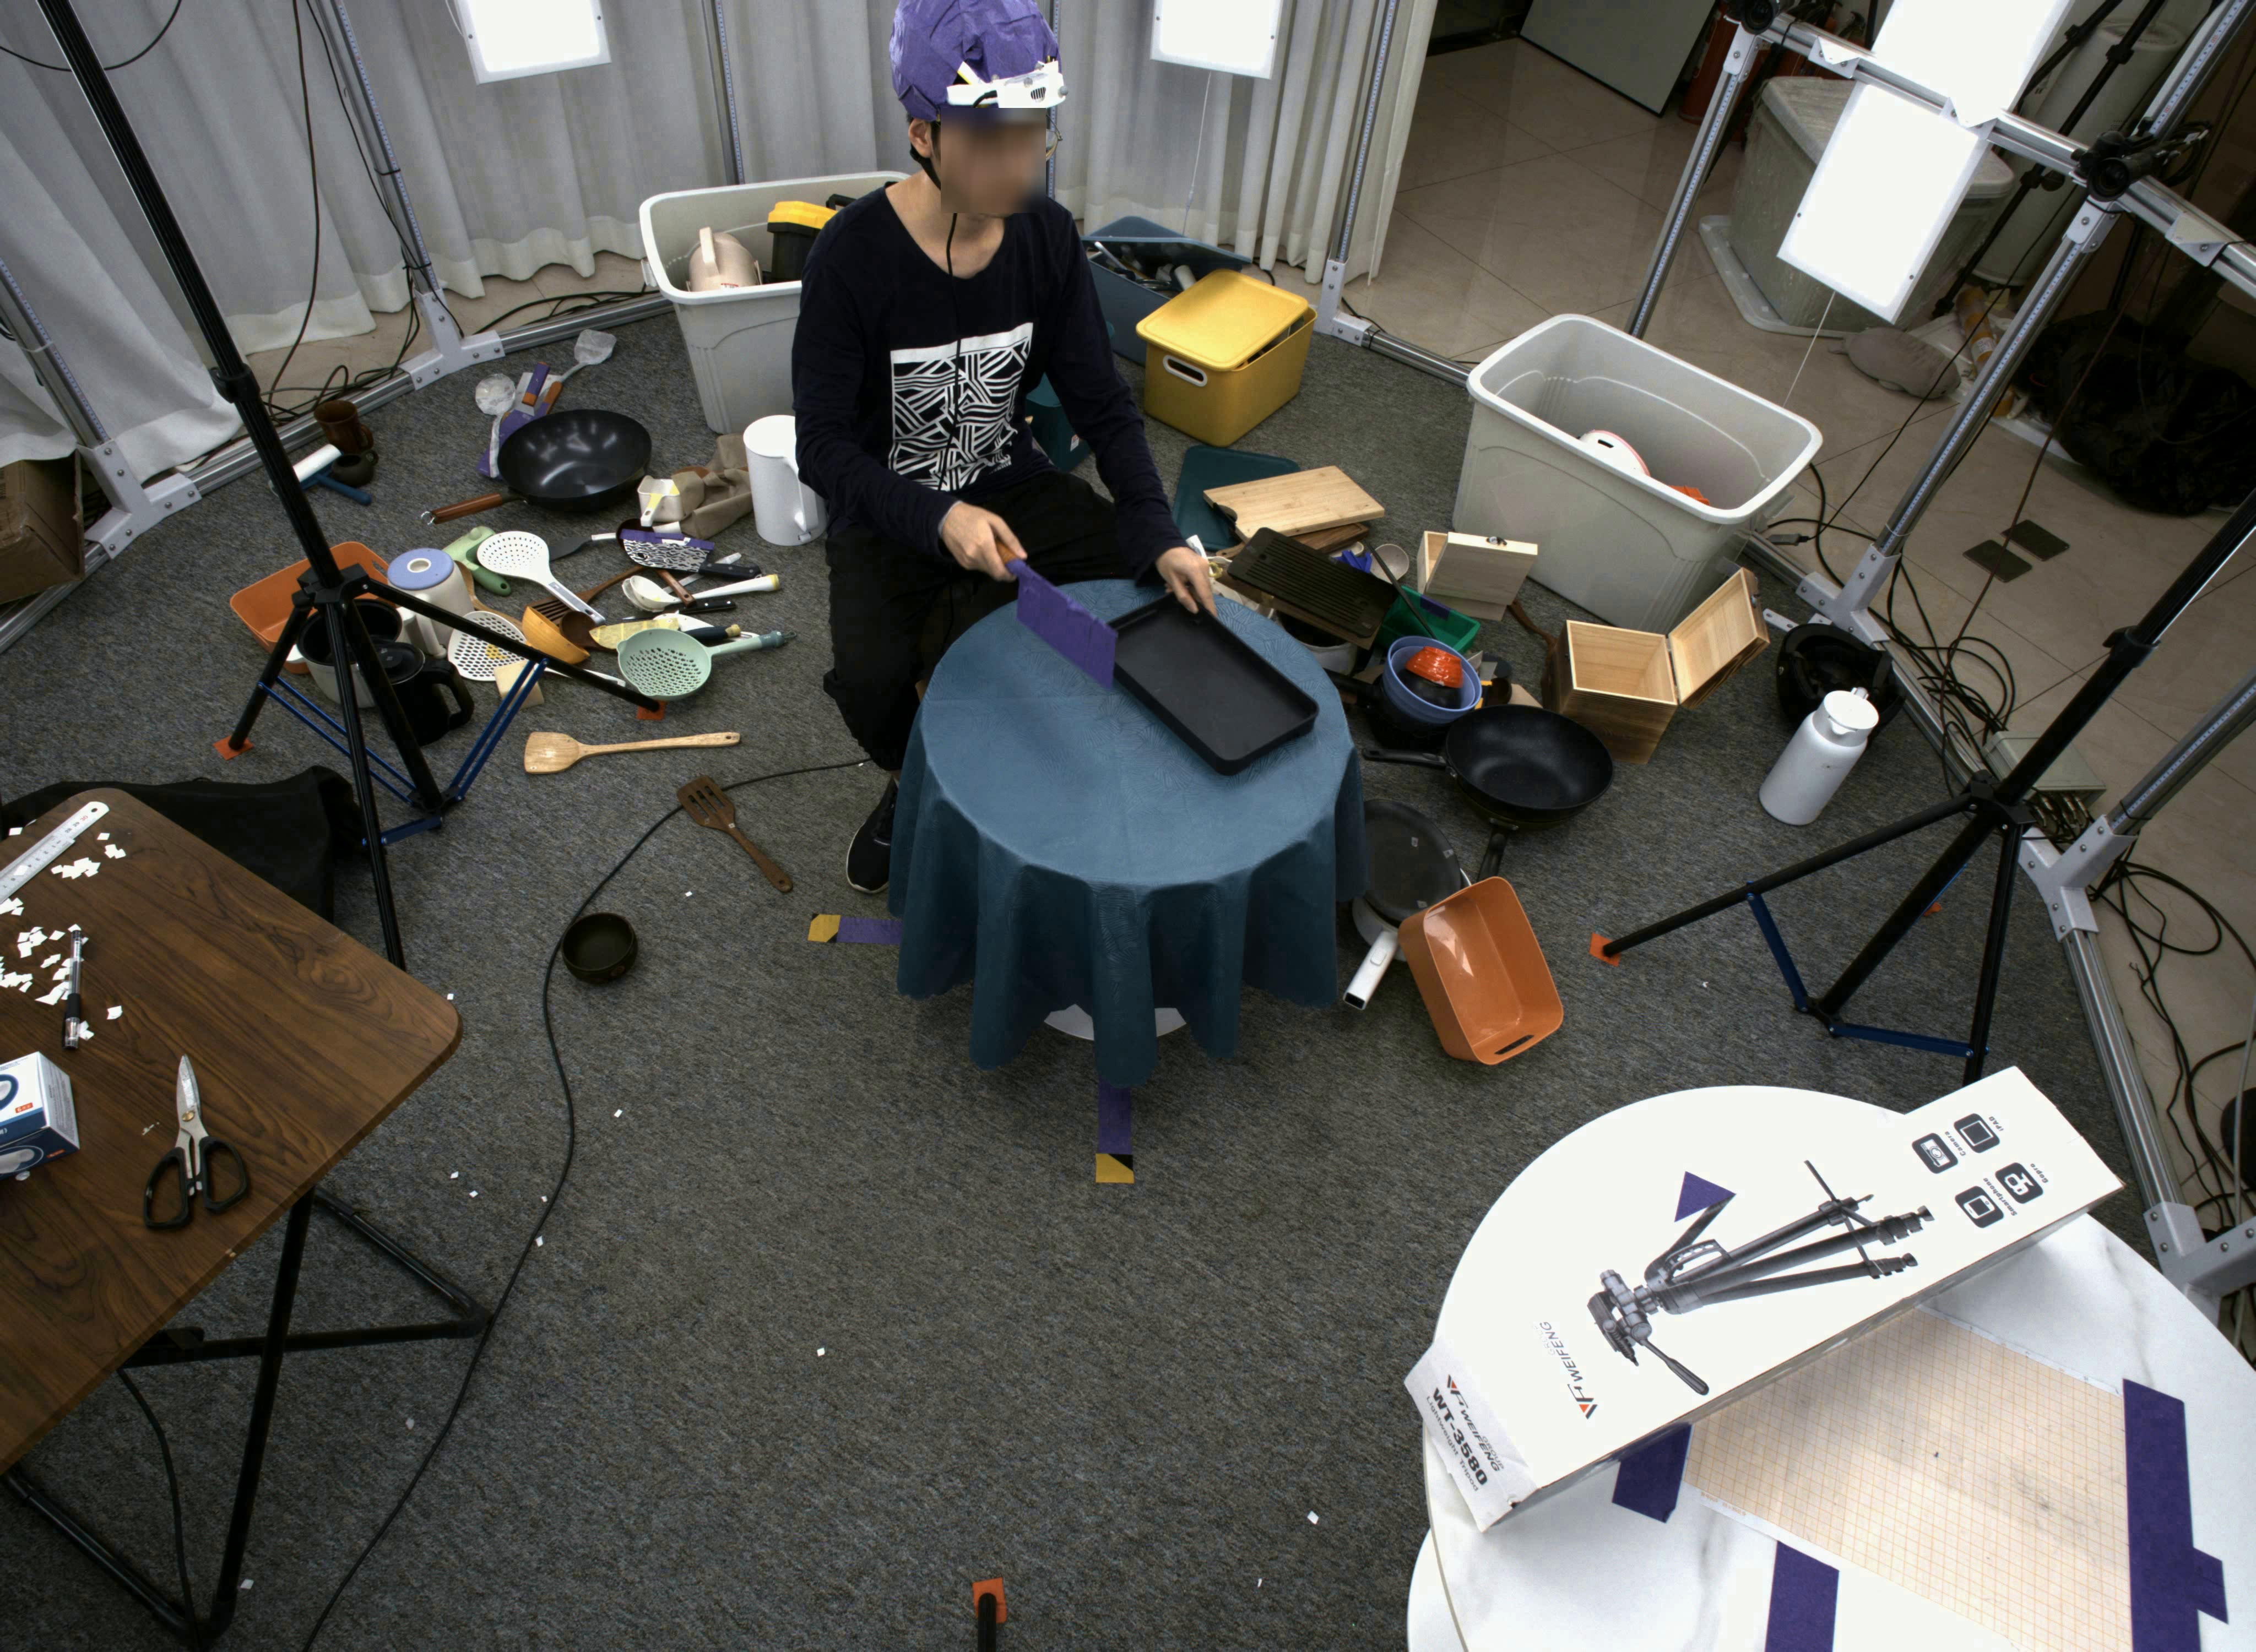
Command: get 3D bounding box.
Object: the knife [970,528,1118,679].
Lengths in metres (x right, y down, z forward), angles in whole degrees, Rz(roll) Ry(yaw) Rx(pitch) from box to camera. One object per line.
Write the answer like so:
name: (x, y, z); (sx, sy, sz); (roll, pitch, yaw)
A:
knife: (-0.119, -0.302, 1.759); (0.032, 0.101, 0.321); (-20, 46, -33)

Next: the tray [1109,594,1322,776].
tray: (0.107, -0.208, 1.834); (0.185, 0.036, 0.323); (-31, 56, -26)
